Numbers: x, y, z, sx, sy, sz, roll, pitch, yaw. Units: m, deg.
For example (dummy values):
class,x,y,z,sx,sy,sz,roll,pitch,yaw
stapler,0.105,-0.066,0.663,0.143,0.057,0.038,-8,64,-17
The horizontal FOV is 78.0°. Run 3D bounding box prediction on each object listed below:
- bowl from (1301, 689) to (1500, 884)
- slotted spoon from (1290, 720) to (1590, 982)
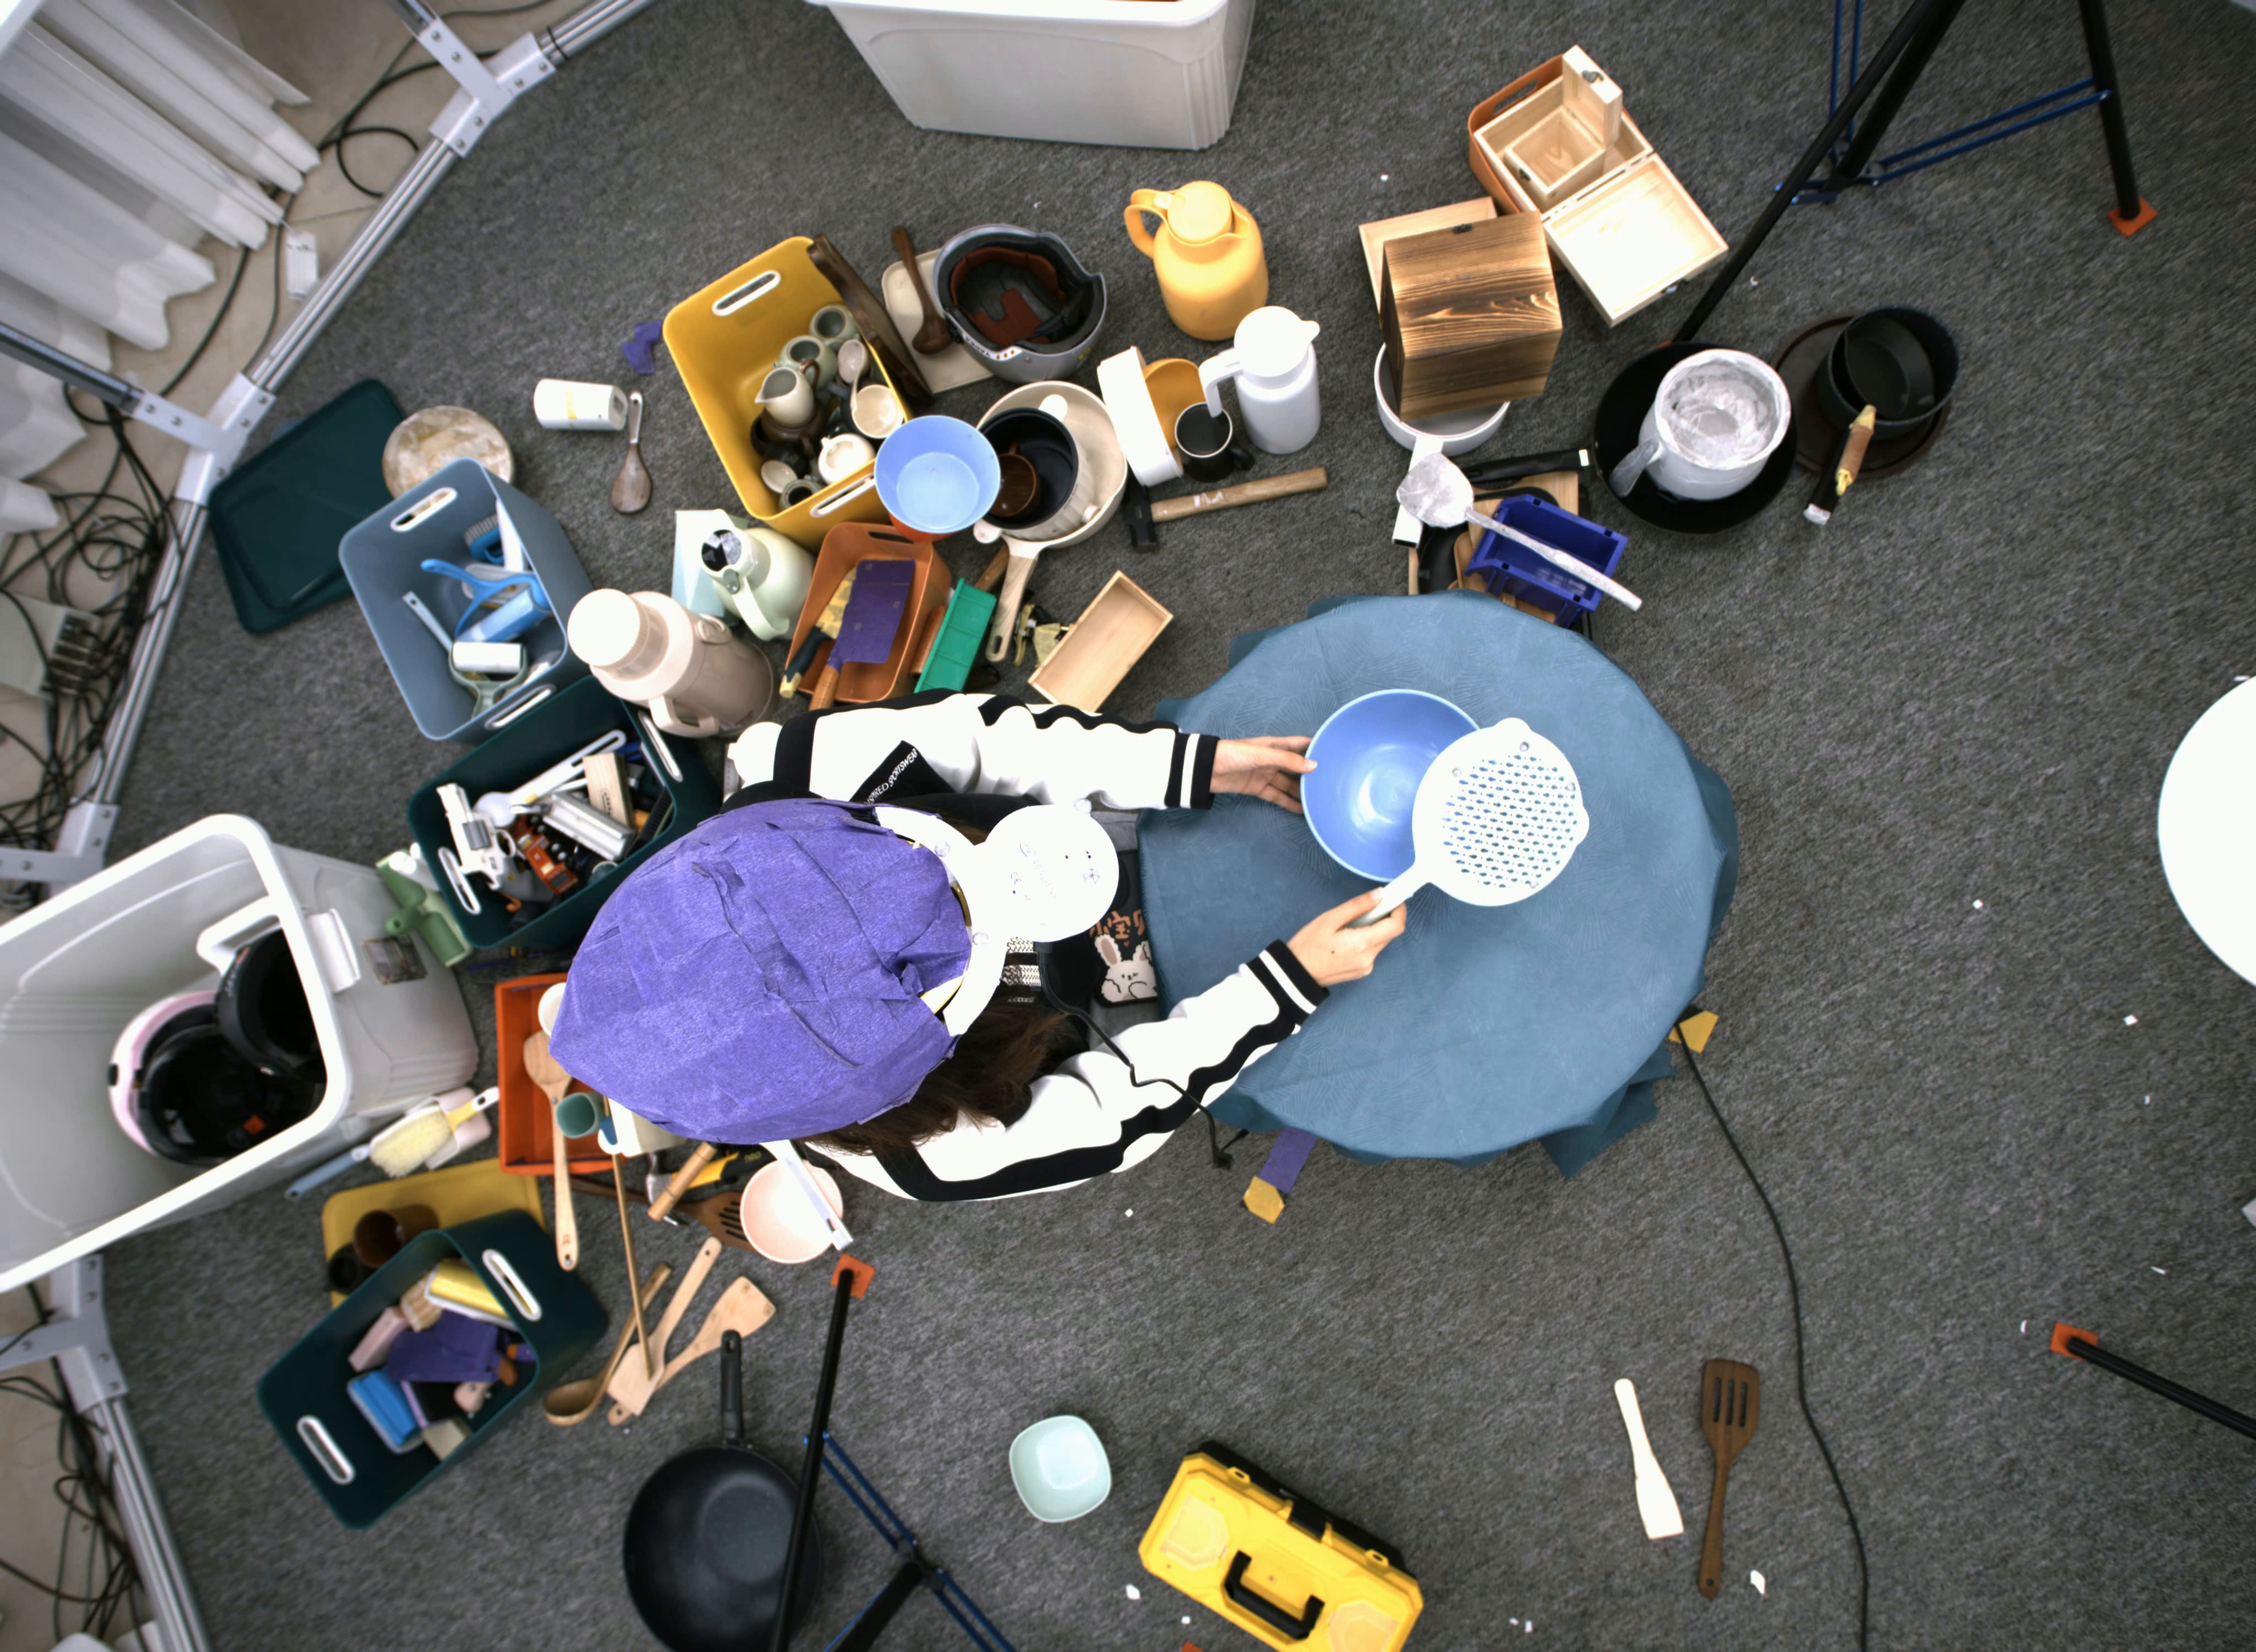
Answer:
class,x,y,z,sx,sy,sz,roll,pitch,yaw
bowl,0.278,-0.037,1.417,0.197,0.095,0.196,-1,87,10
slotted spoon,0.286,0.049,1.345,0.364,0.075,0.166,-37,61,23
